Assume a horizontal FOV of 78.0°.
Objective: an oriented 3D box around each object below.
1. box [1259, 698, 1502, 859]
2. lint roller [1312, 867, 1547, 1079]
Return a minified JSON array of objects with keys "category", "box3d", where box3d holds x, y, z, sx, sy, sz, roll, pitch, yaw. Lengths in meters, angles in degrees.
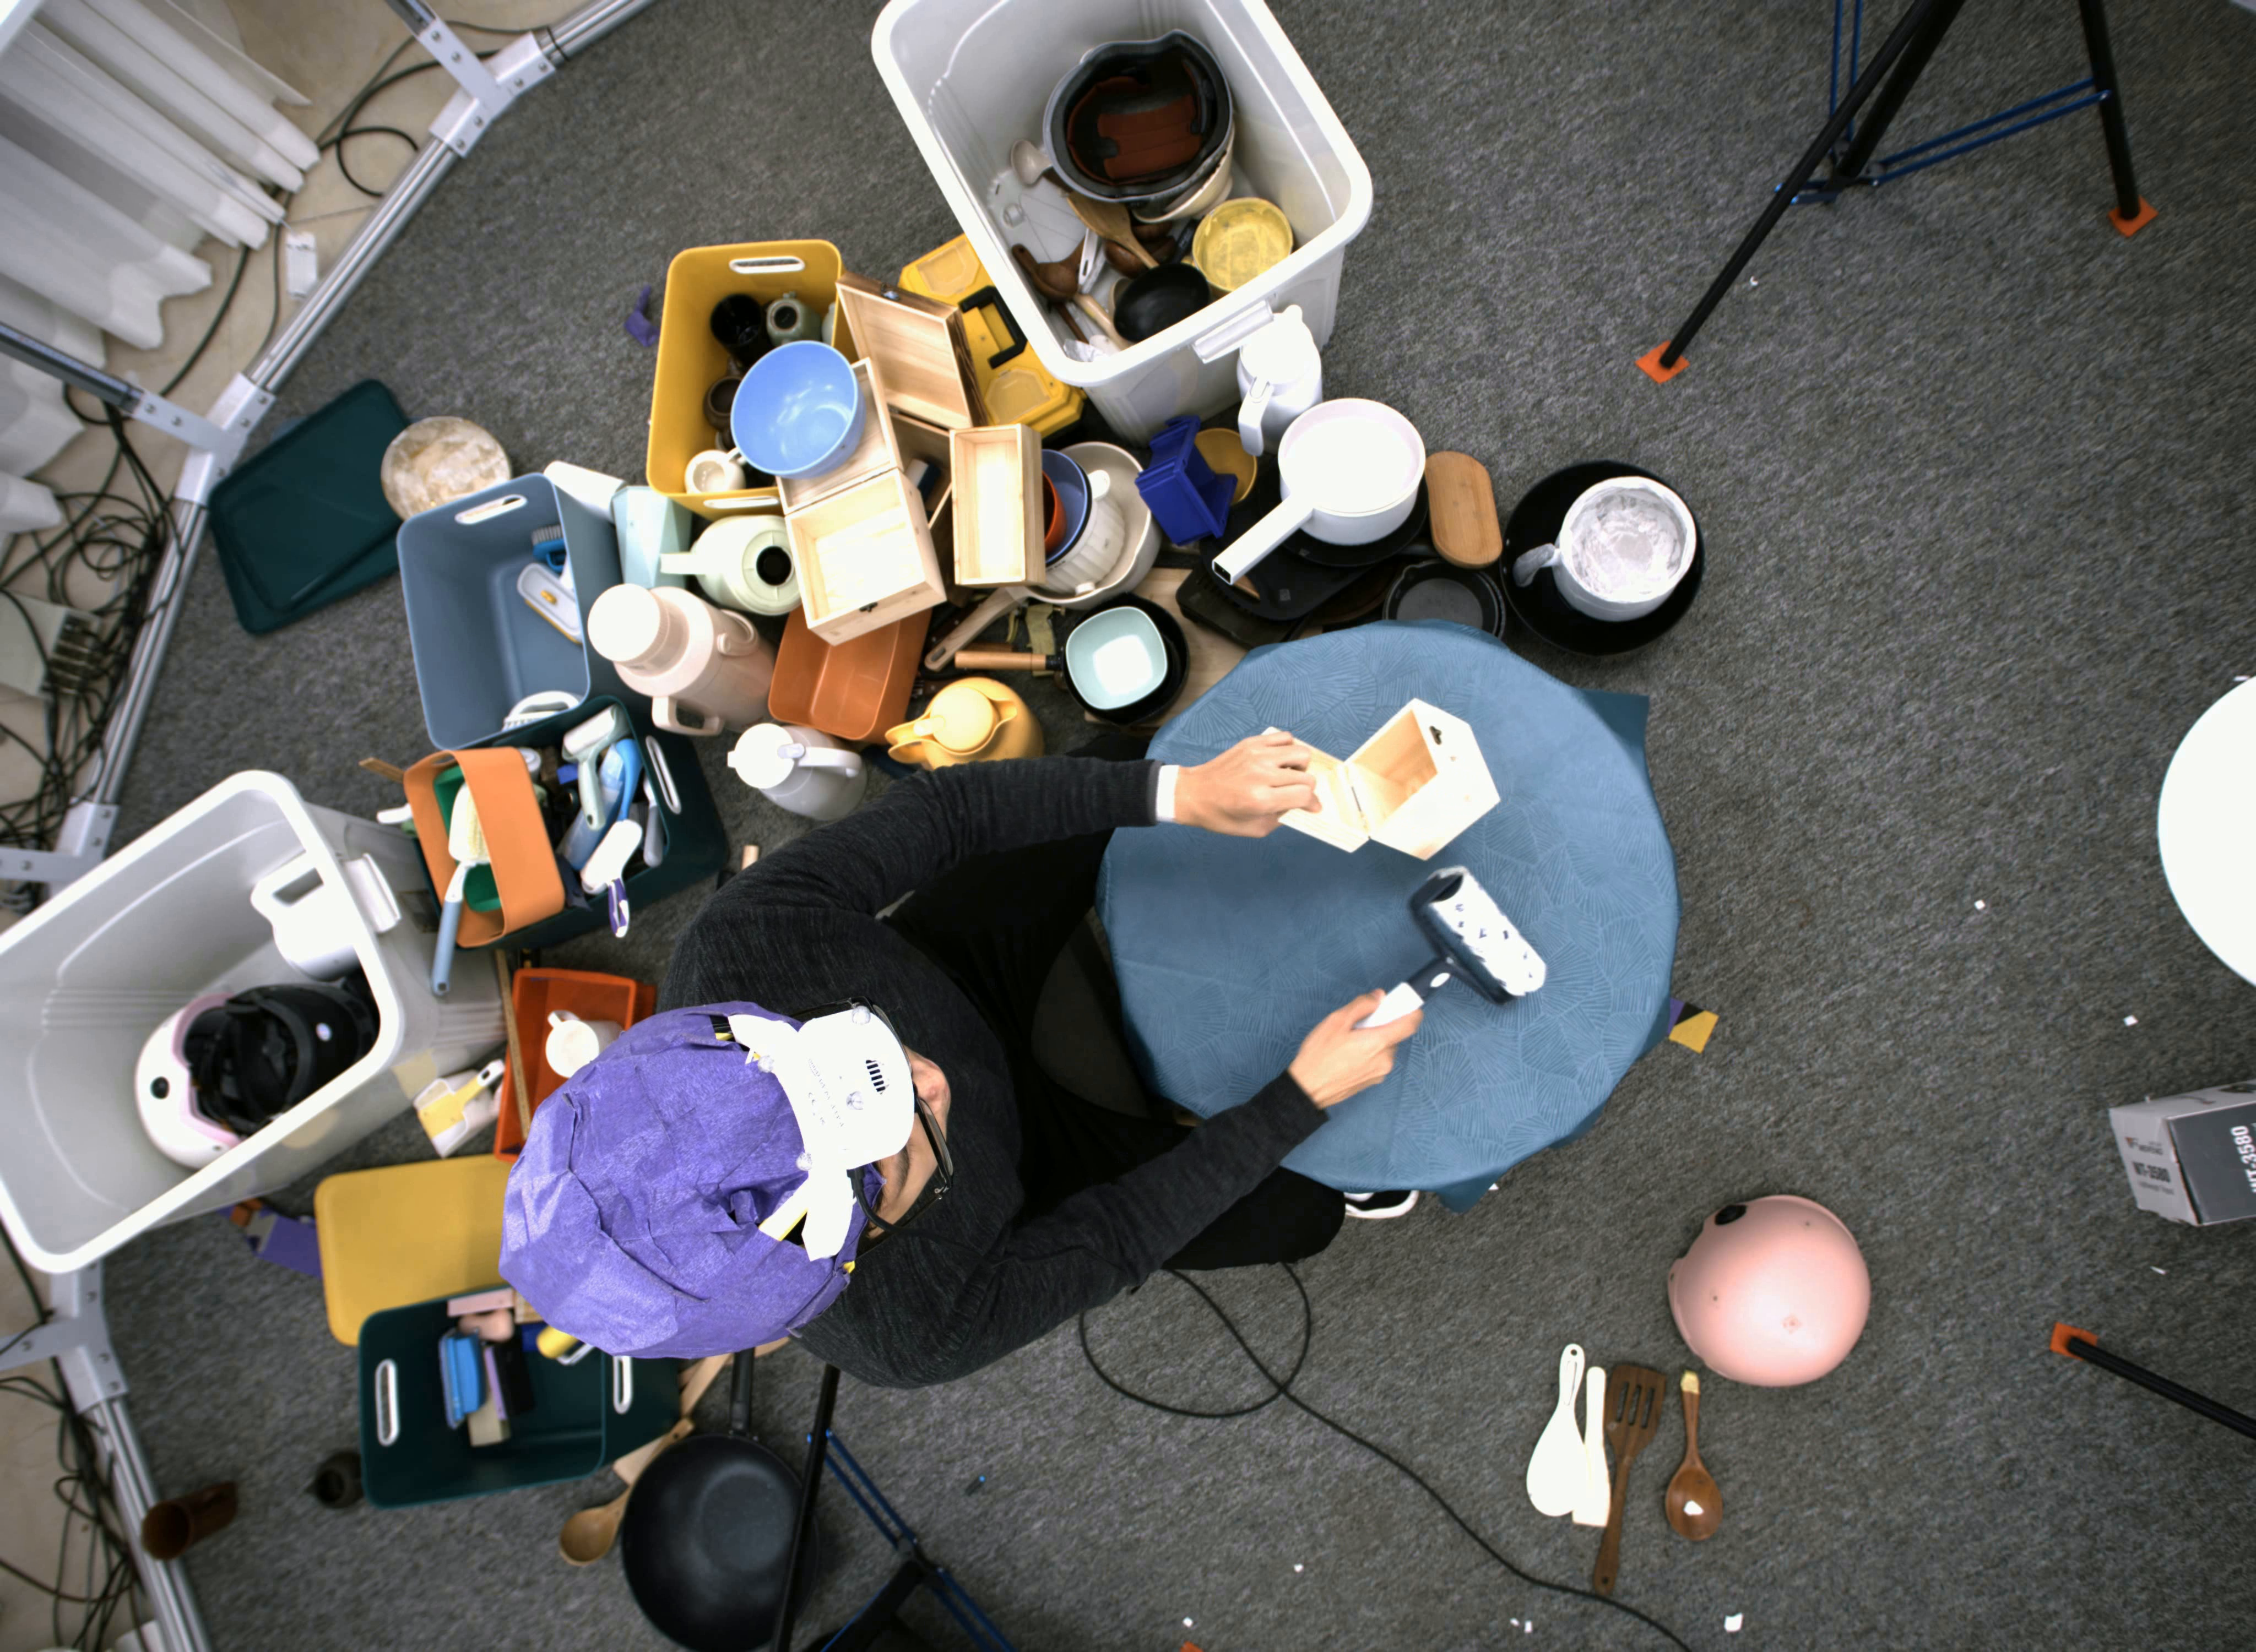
[{"category":"box","box3d":[0.238,-0.056,1.304,0.137,0.185,0.100,-44,41,36]},{"category":"lint roller","box3d":[0.285,0.172,1.377,0.248,0.049,0.178,-42,119,7]}]
